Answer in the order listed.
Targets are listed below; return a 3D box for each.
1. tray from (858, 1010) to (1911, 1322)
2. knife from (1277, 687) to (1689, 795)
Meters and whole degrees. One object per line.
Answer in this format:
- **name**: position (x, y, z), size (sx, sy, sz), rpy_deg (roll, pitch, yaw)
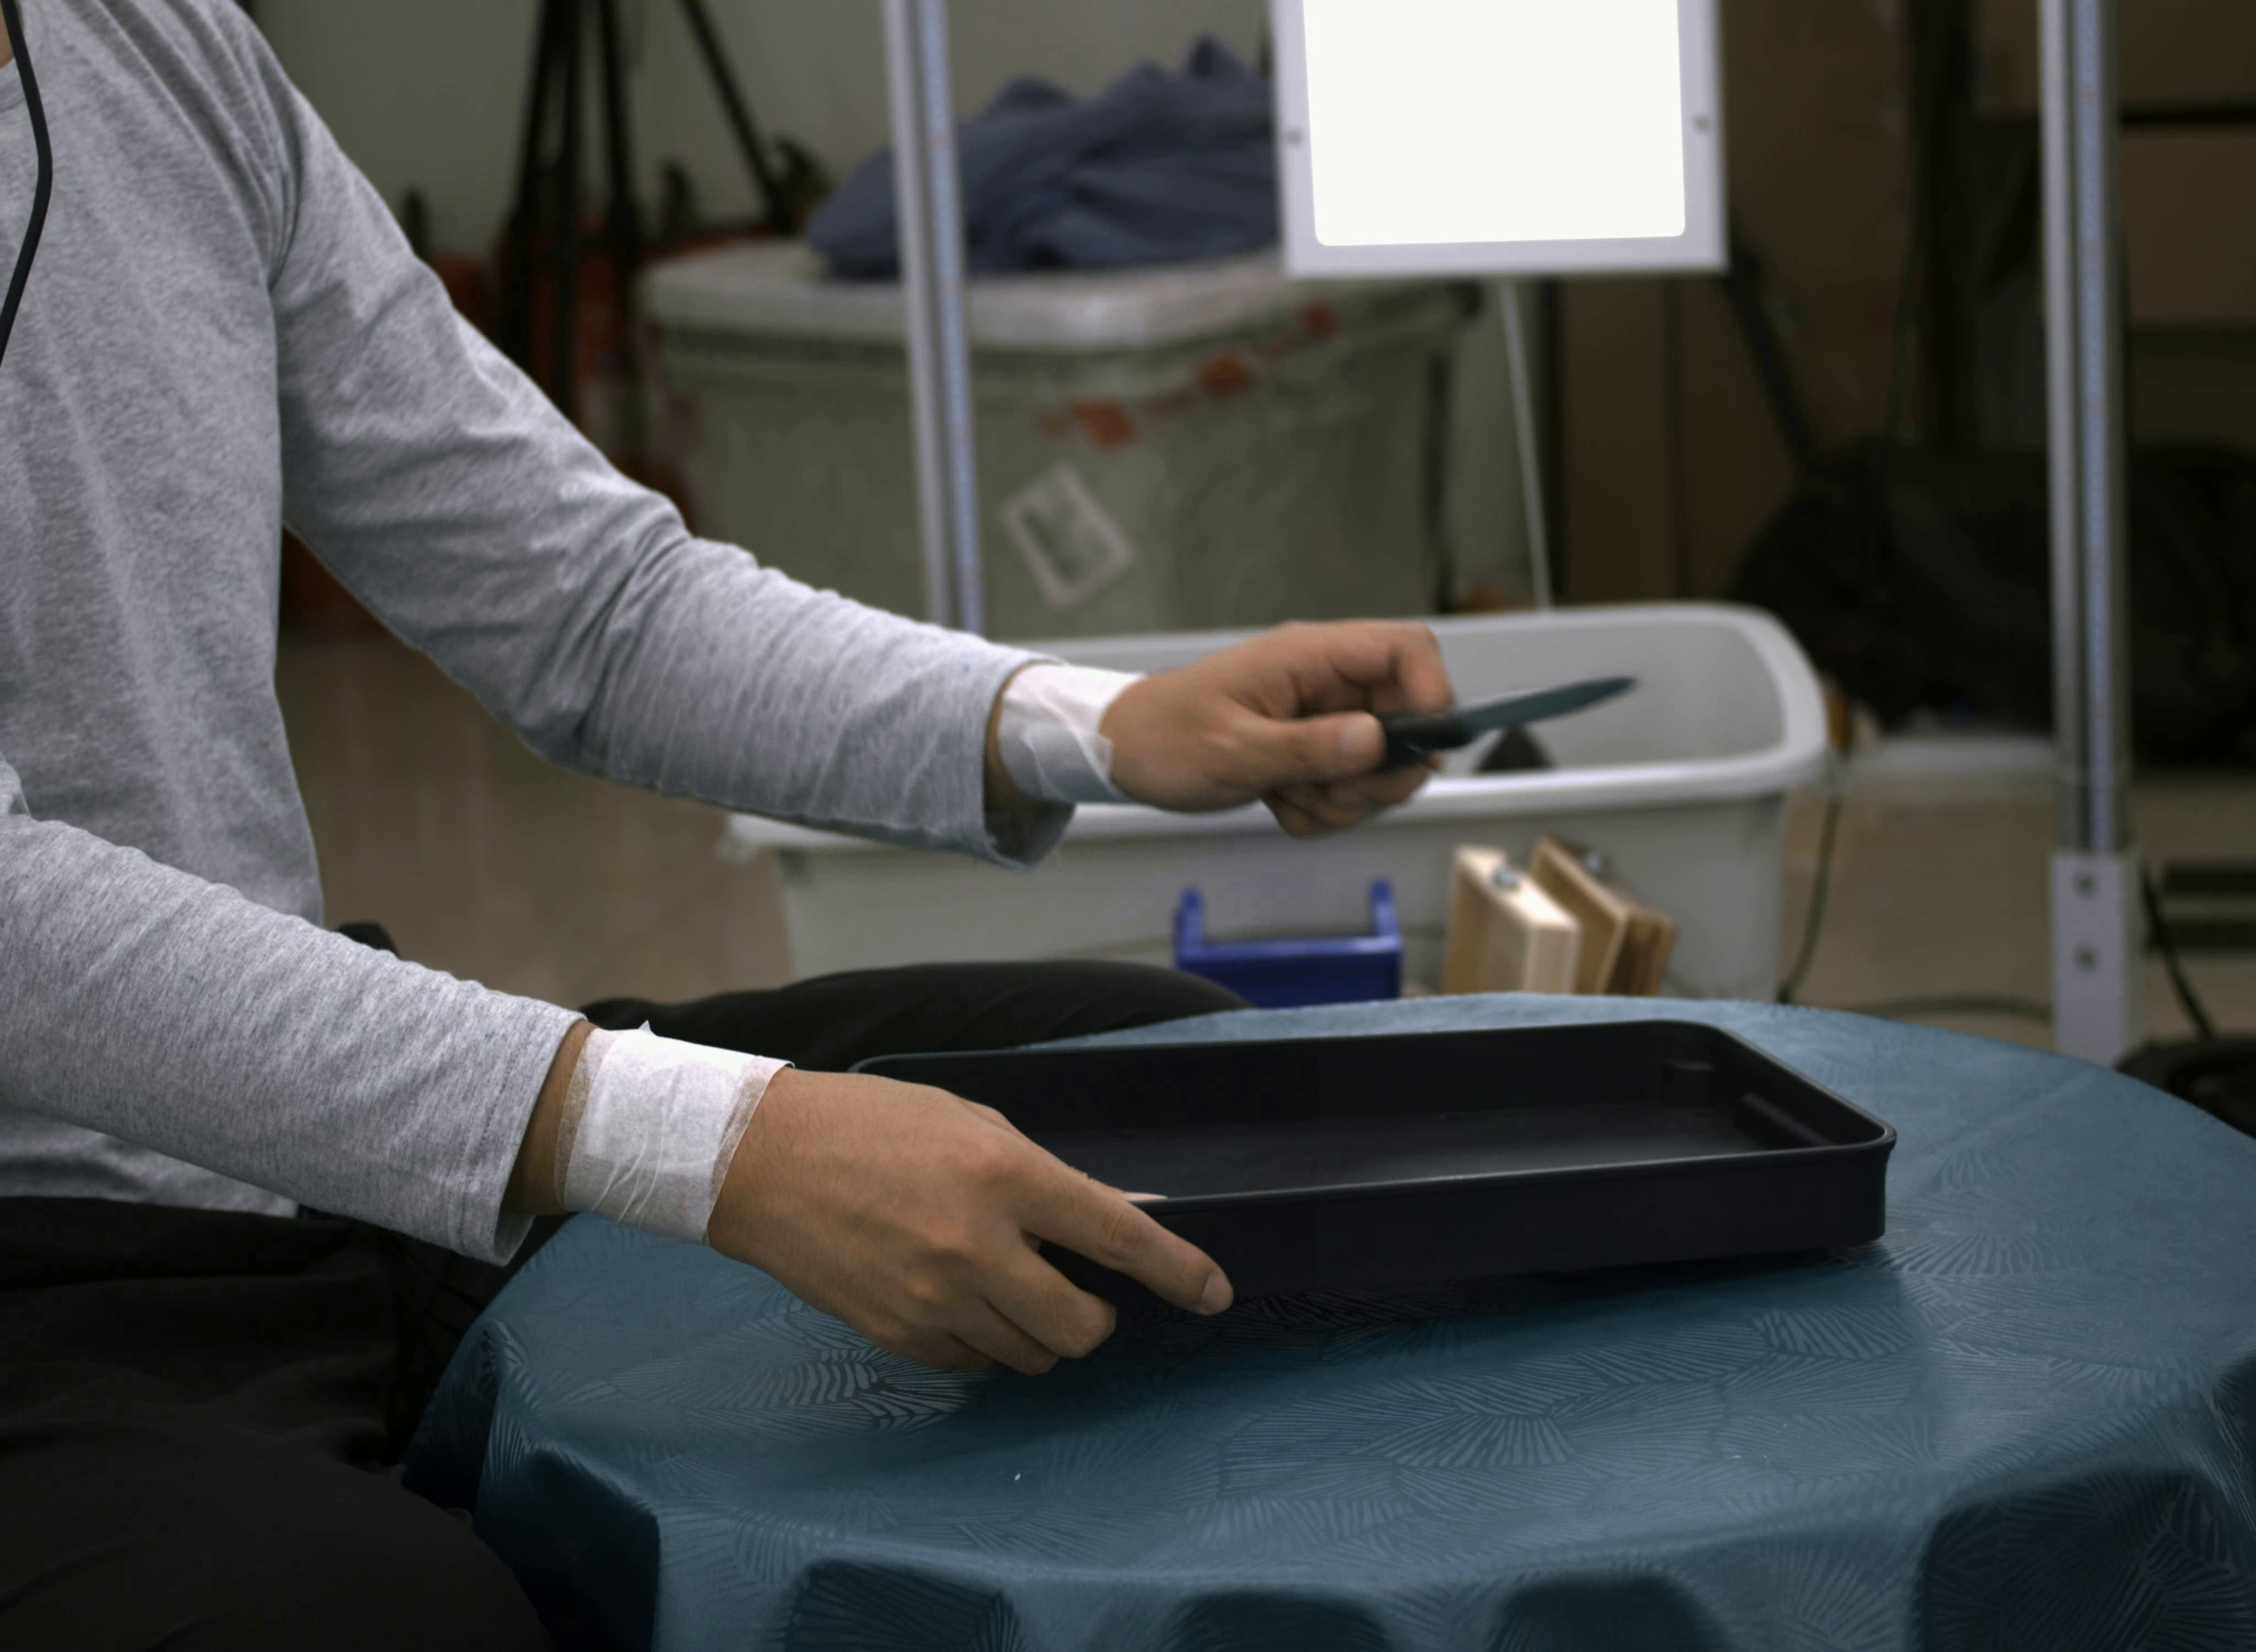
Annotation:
- **tray**: position (0.082, 0.108, 1.808), size (0.313, 0.037, 0.186), rpy_deg (-4, 13, -15)
- **knife**: position (0.119, -0.032, 1.897), size (0.024, 0.016, 0.243), rpy_deg (17, -15, -28)
